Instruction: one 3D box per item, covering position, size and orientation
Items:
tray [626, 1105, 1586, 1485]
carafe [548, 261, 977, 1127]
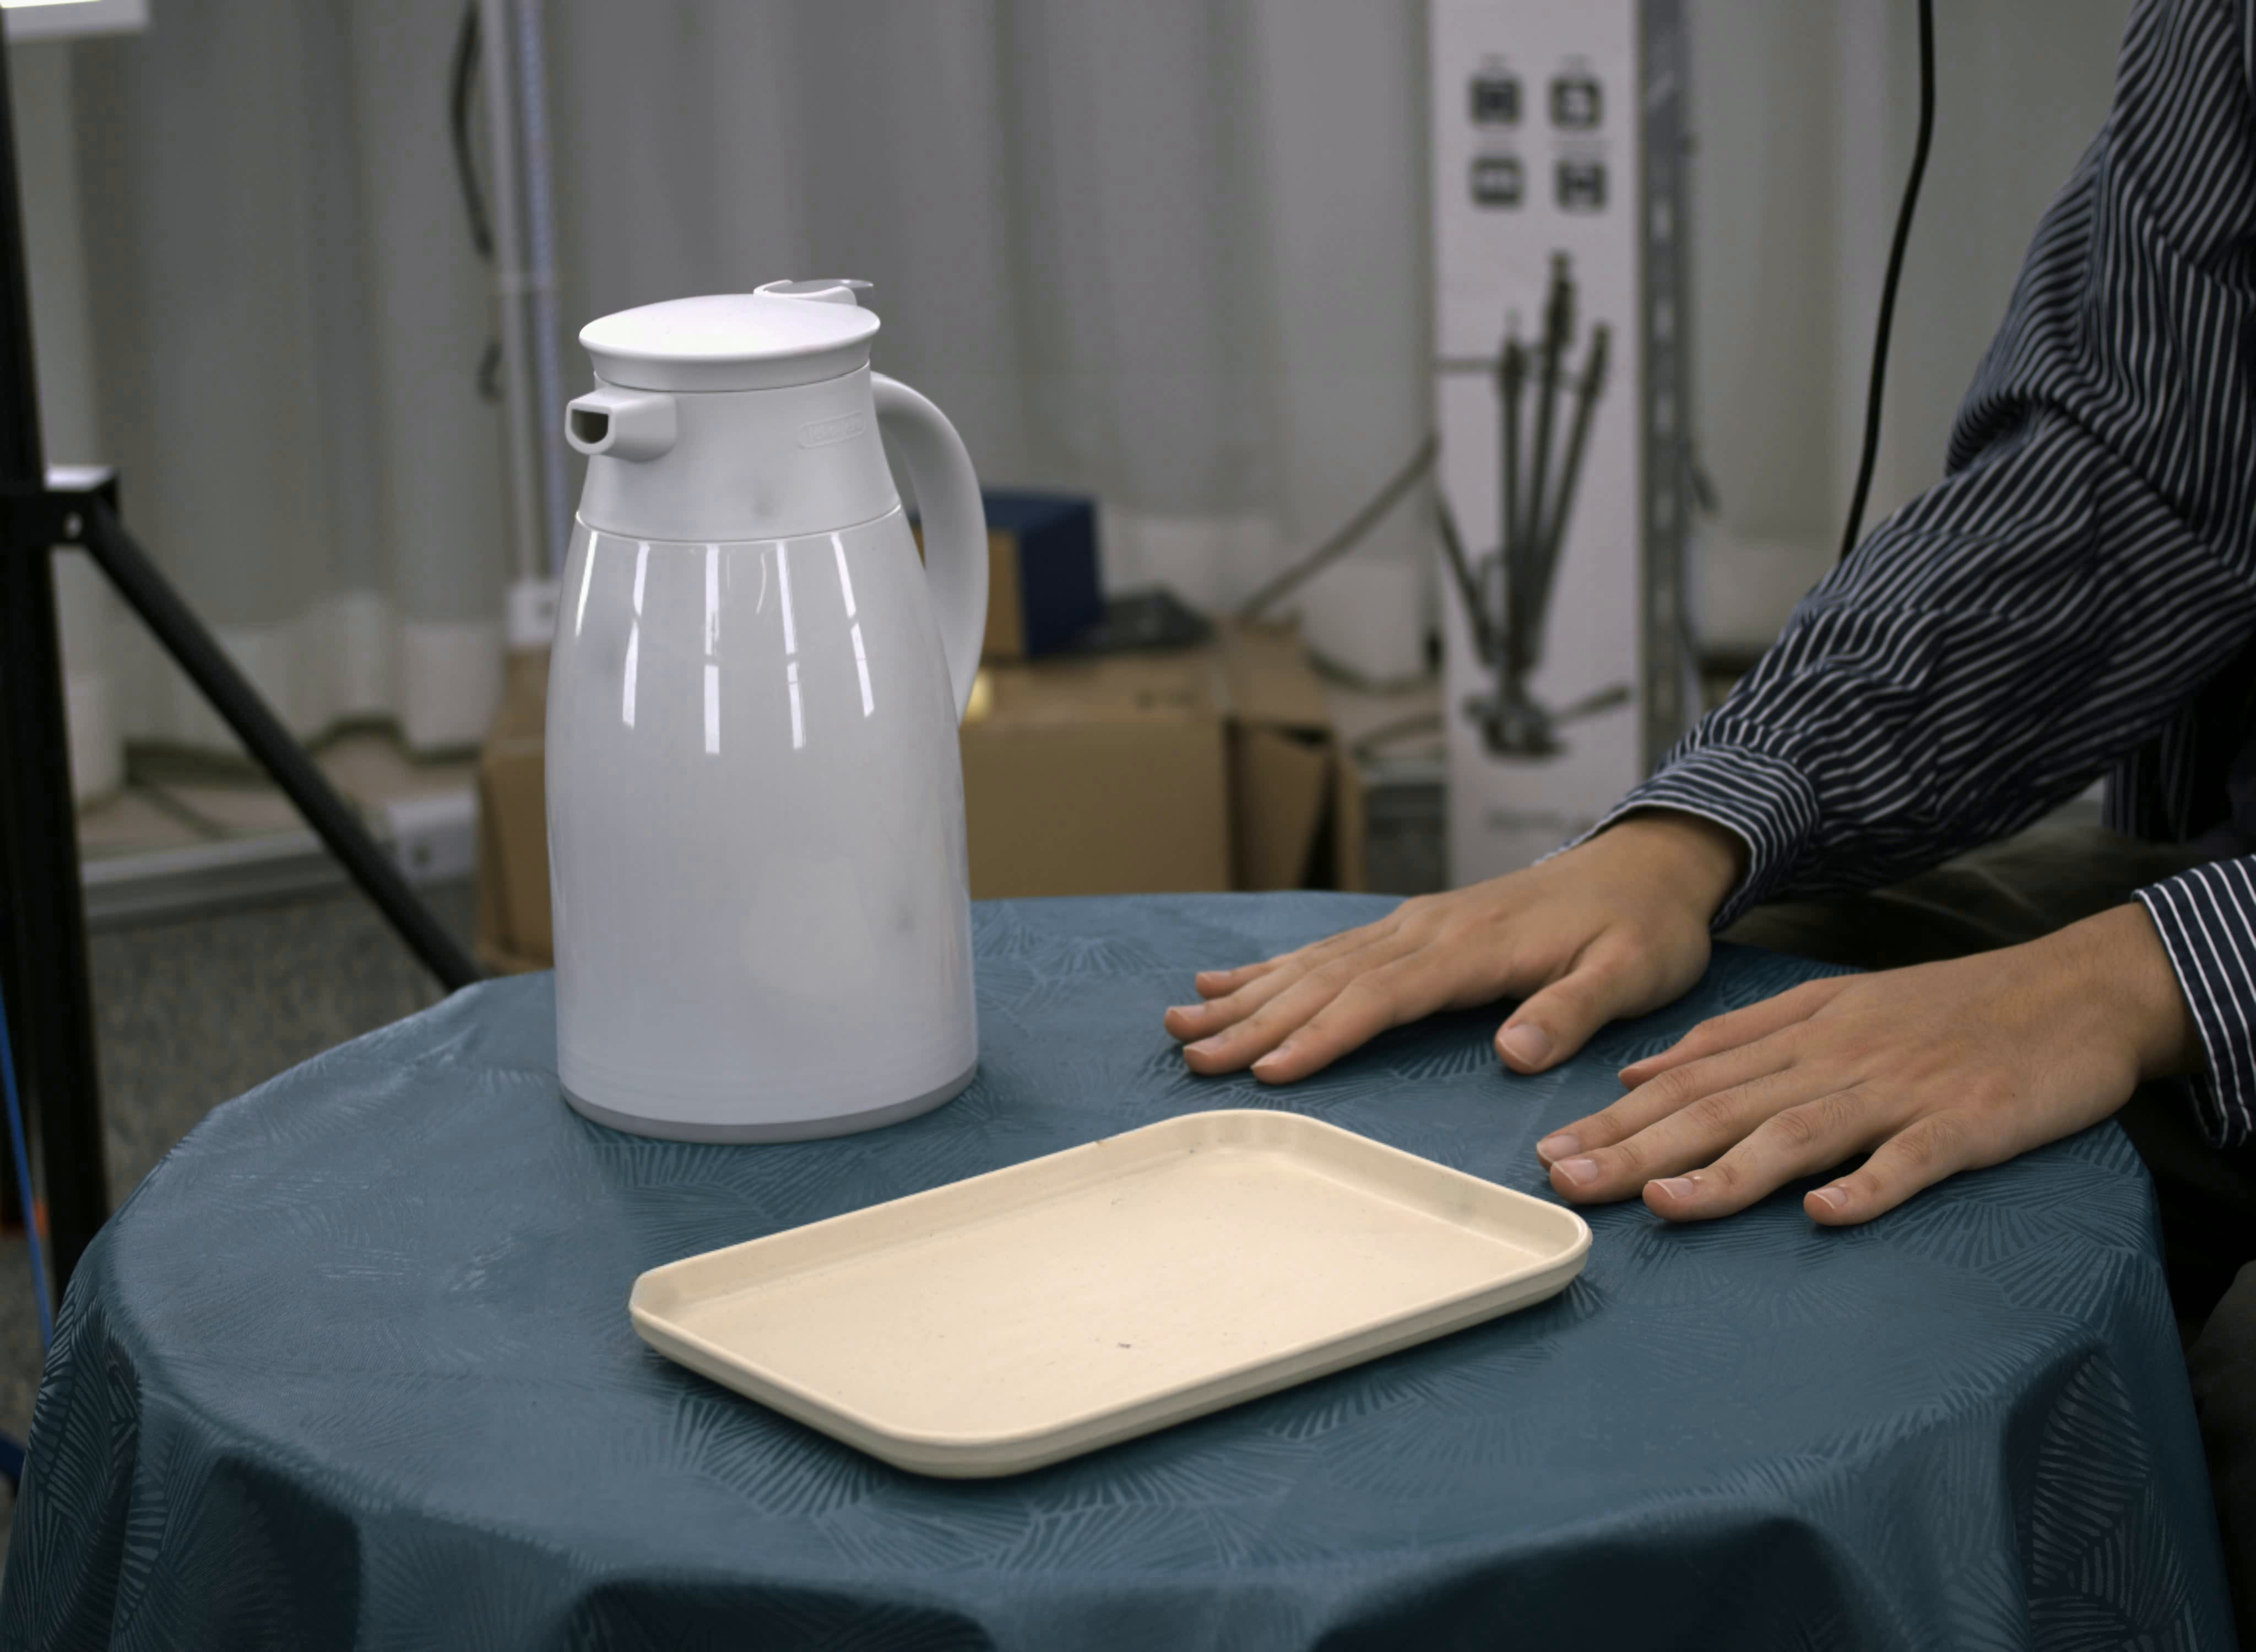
[{"bbox_3d":[-0.004,0.128,1.463,0.234,0.017,0.175,-14,20,-35],"label":"tray"},{"bbox_3d":[-0.106,-0.049,1.667,0.135,0.249,0.164,8,17,35],"label":"carafe"}]
